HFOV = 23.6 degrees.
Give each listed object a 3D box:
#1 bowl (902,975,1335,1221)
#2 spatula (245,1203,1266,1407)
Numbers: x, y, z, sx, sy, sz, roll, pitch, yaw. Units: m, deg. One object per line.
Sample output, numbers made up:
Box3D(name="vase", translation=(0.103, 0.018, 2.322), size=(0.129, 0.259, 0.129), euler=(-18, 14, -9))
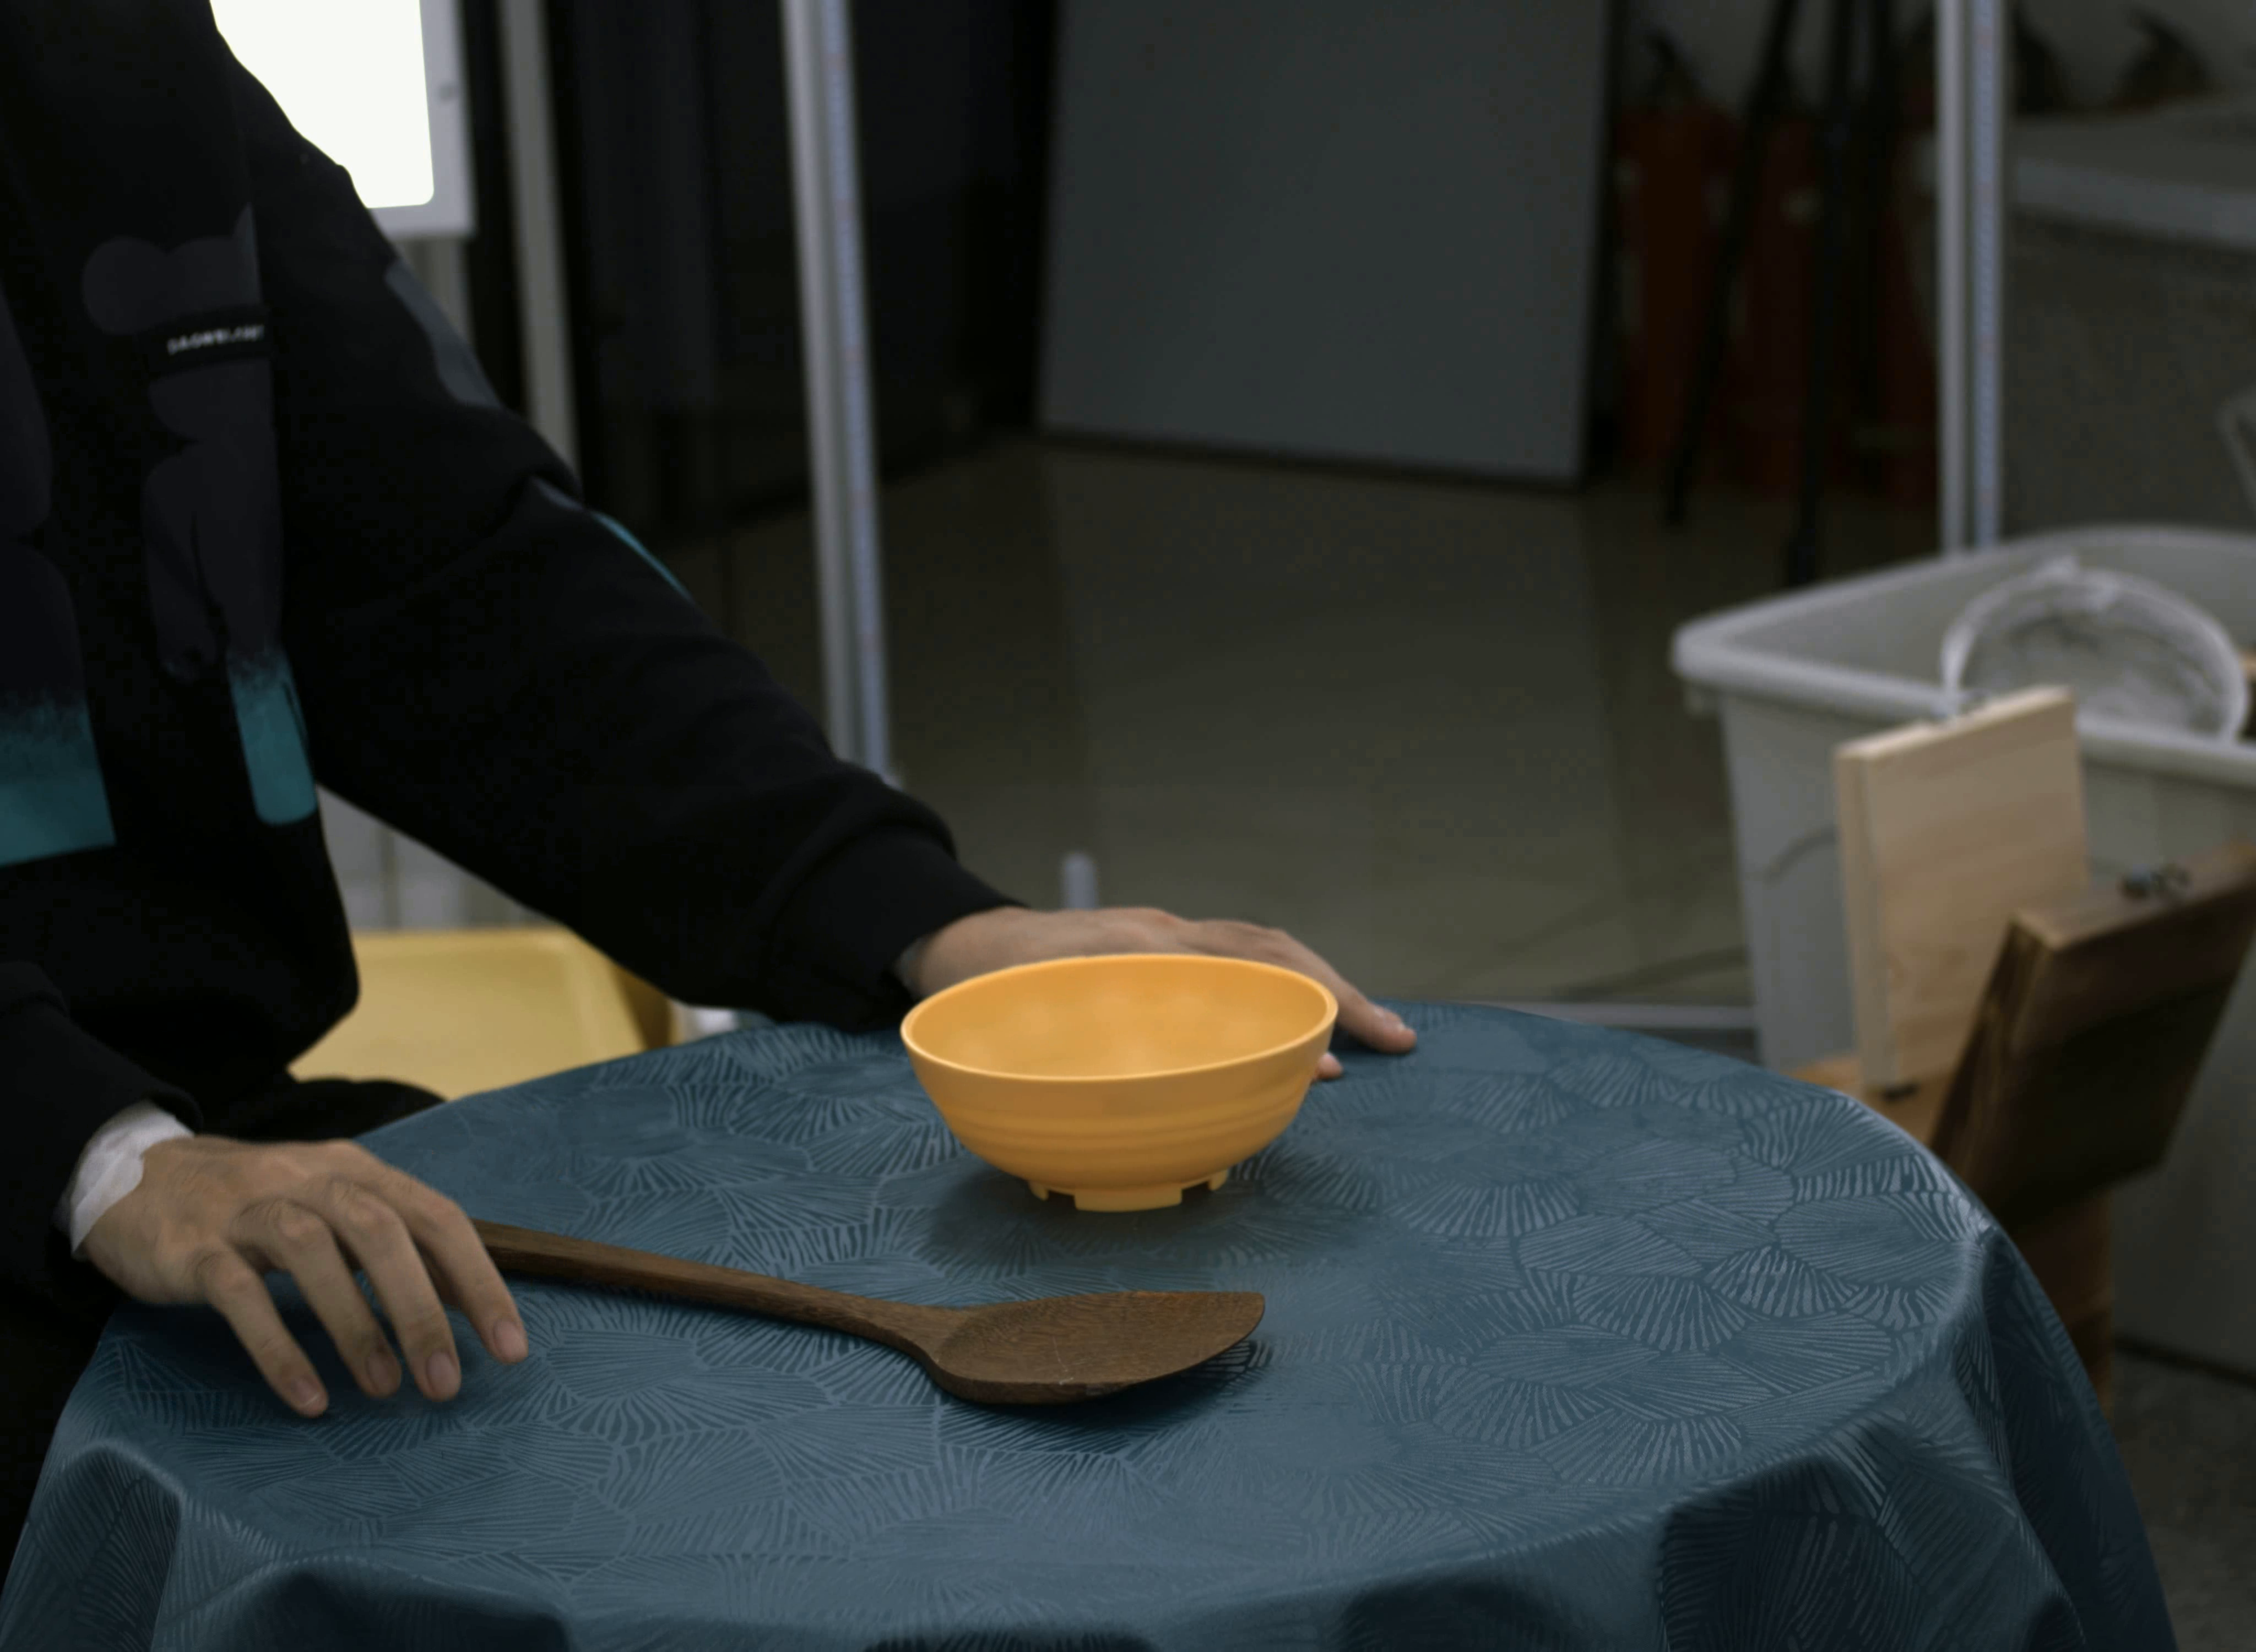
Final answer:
Box3D(name="bowl", translation=(-0.002, 0.093, 1.773), size=(0.143, 0.061, 0.145), euler=(-3, 11, 0))
Box3D(name="spatula", translation=(-0.131, 0.145, 1.687), size=(0.388, 0.016, 0.094), euler=(5, 16, 34))
